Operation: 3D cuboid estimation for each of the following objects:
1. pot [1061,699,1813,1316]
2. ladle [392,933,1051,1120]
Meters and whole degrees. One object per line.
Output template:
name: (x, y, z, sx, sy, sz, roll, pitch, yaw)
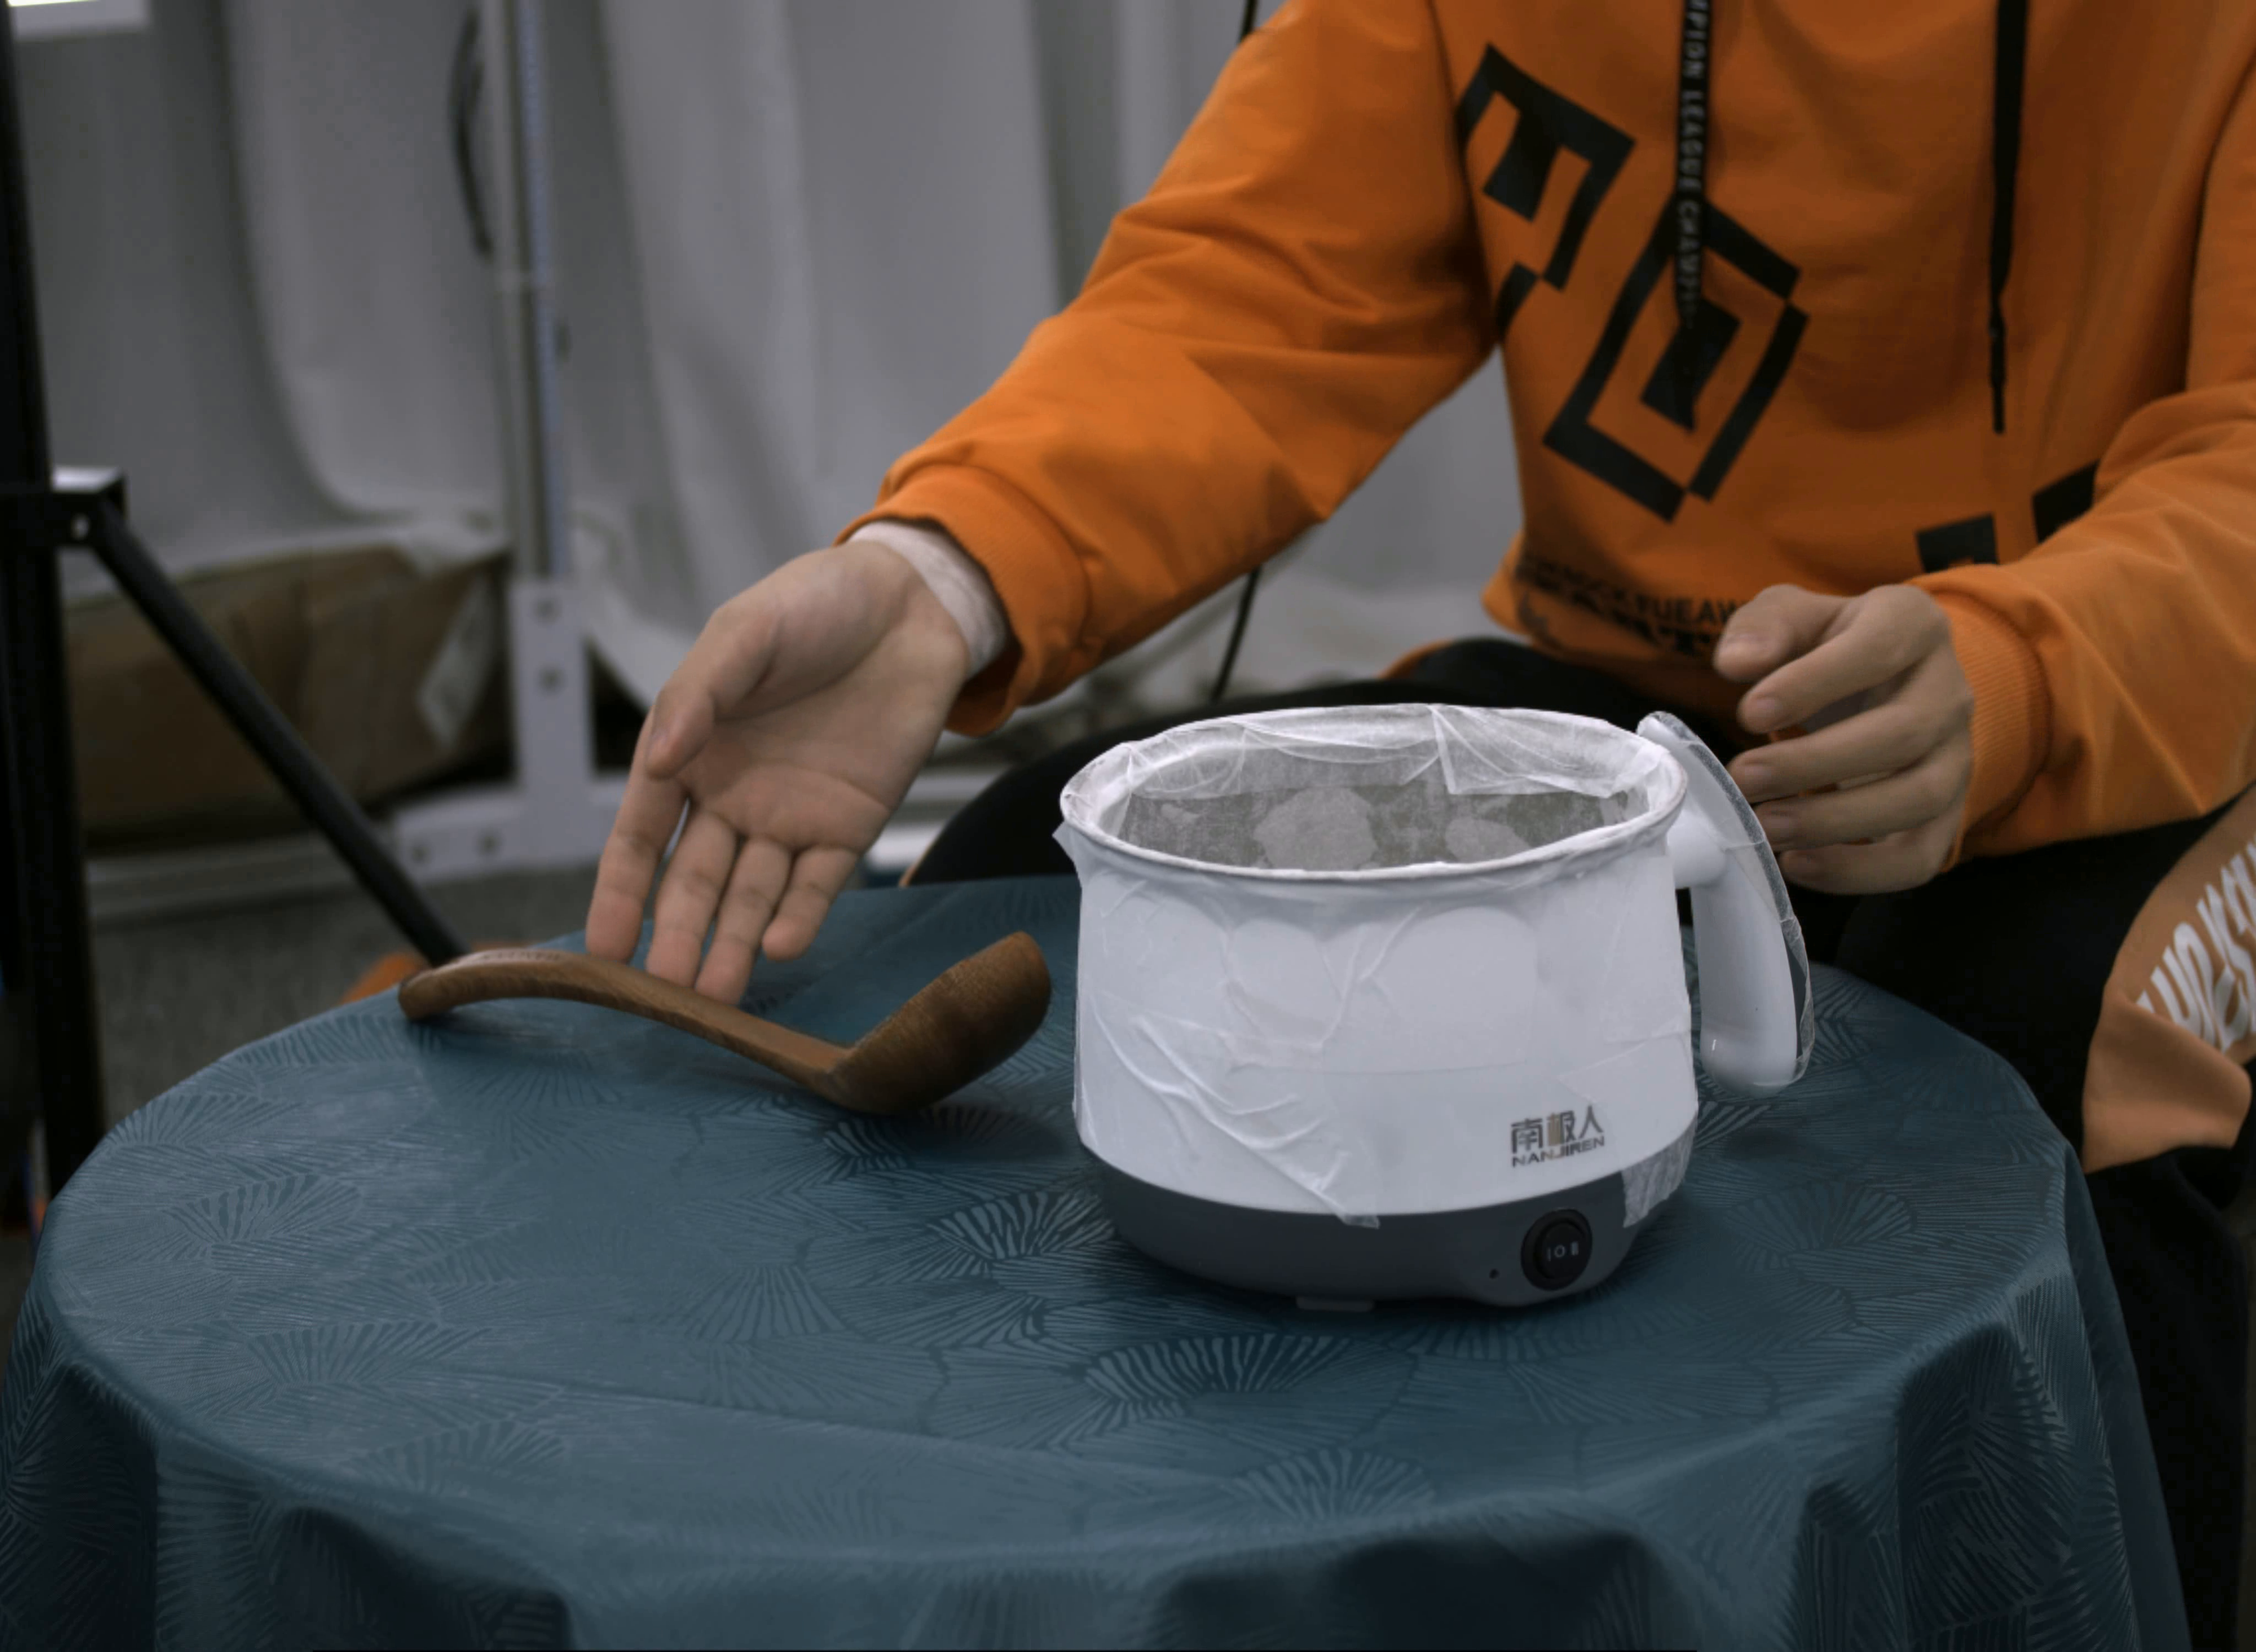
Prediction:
pot: (0.095, 0.044, 1.513, 0.228, 0.136, 0.182, -12, 19, -29)
ladle: (-0.135, 0.048, 1.676, 0.266, 0.065, 0.075, 10, 17, 37)
